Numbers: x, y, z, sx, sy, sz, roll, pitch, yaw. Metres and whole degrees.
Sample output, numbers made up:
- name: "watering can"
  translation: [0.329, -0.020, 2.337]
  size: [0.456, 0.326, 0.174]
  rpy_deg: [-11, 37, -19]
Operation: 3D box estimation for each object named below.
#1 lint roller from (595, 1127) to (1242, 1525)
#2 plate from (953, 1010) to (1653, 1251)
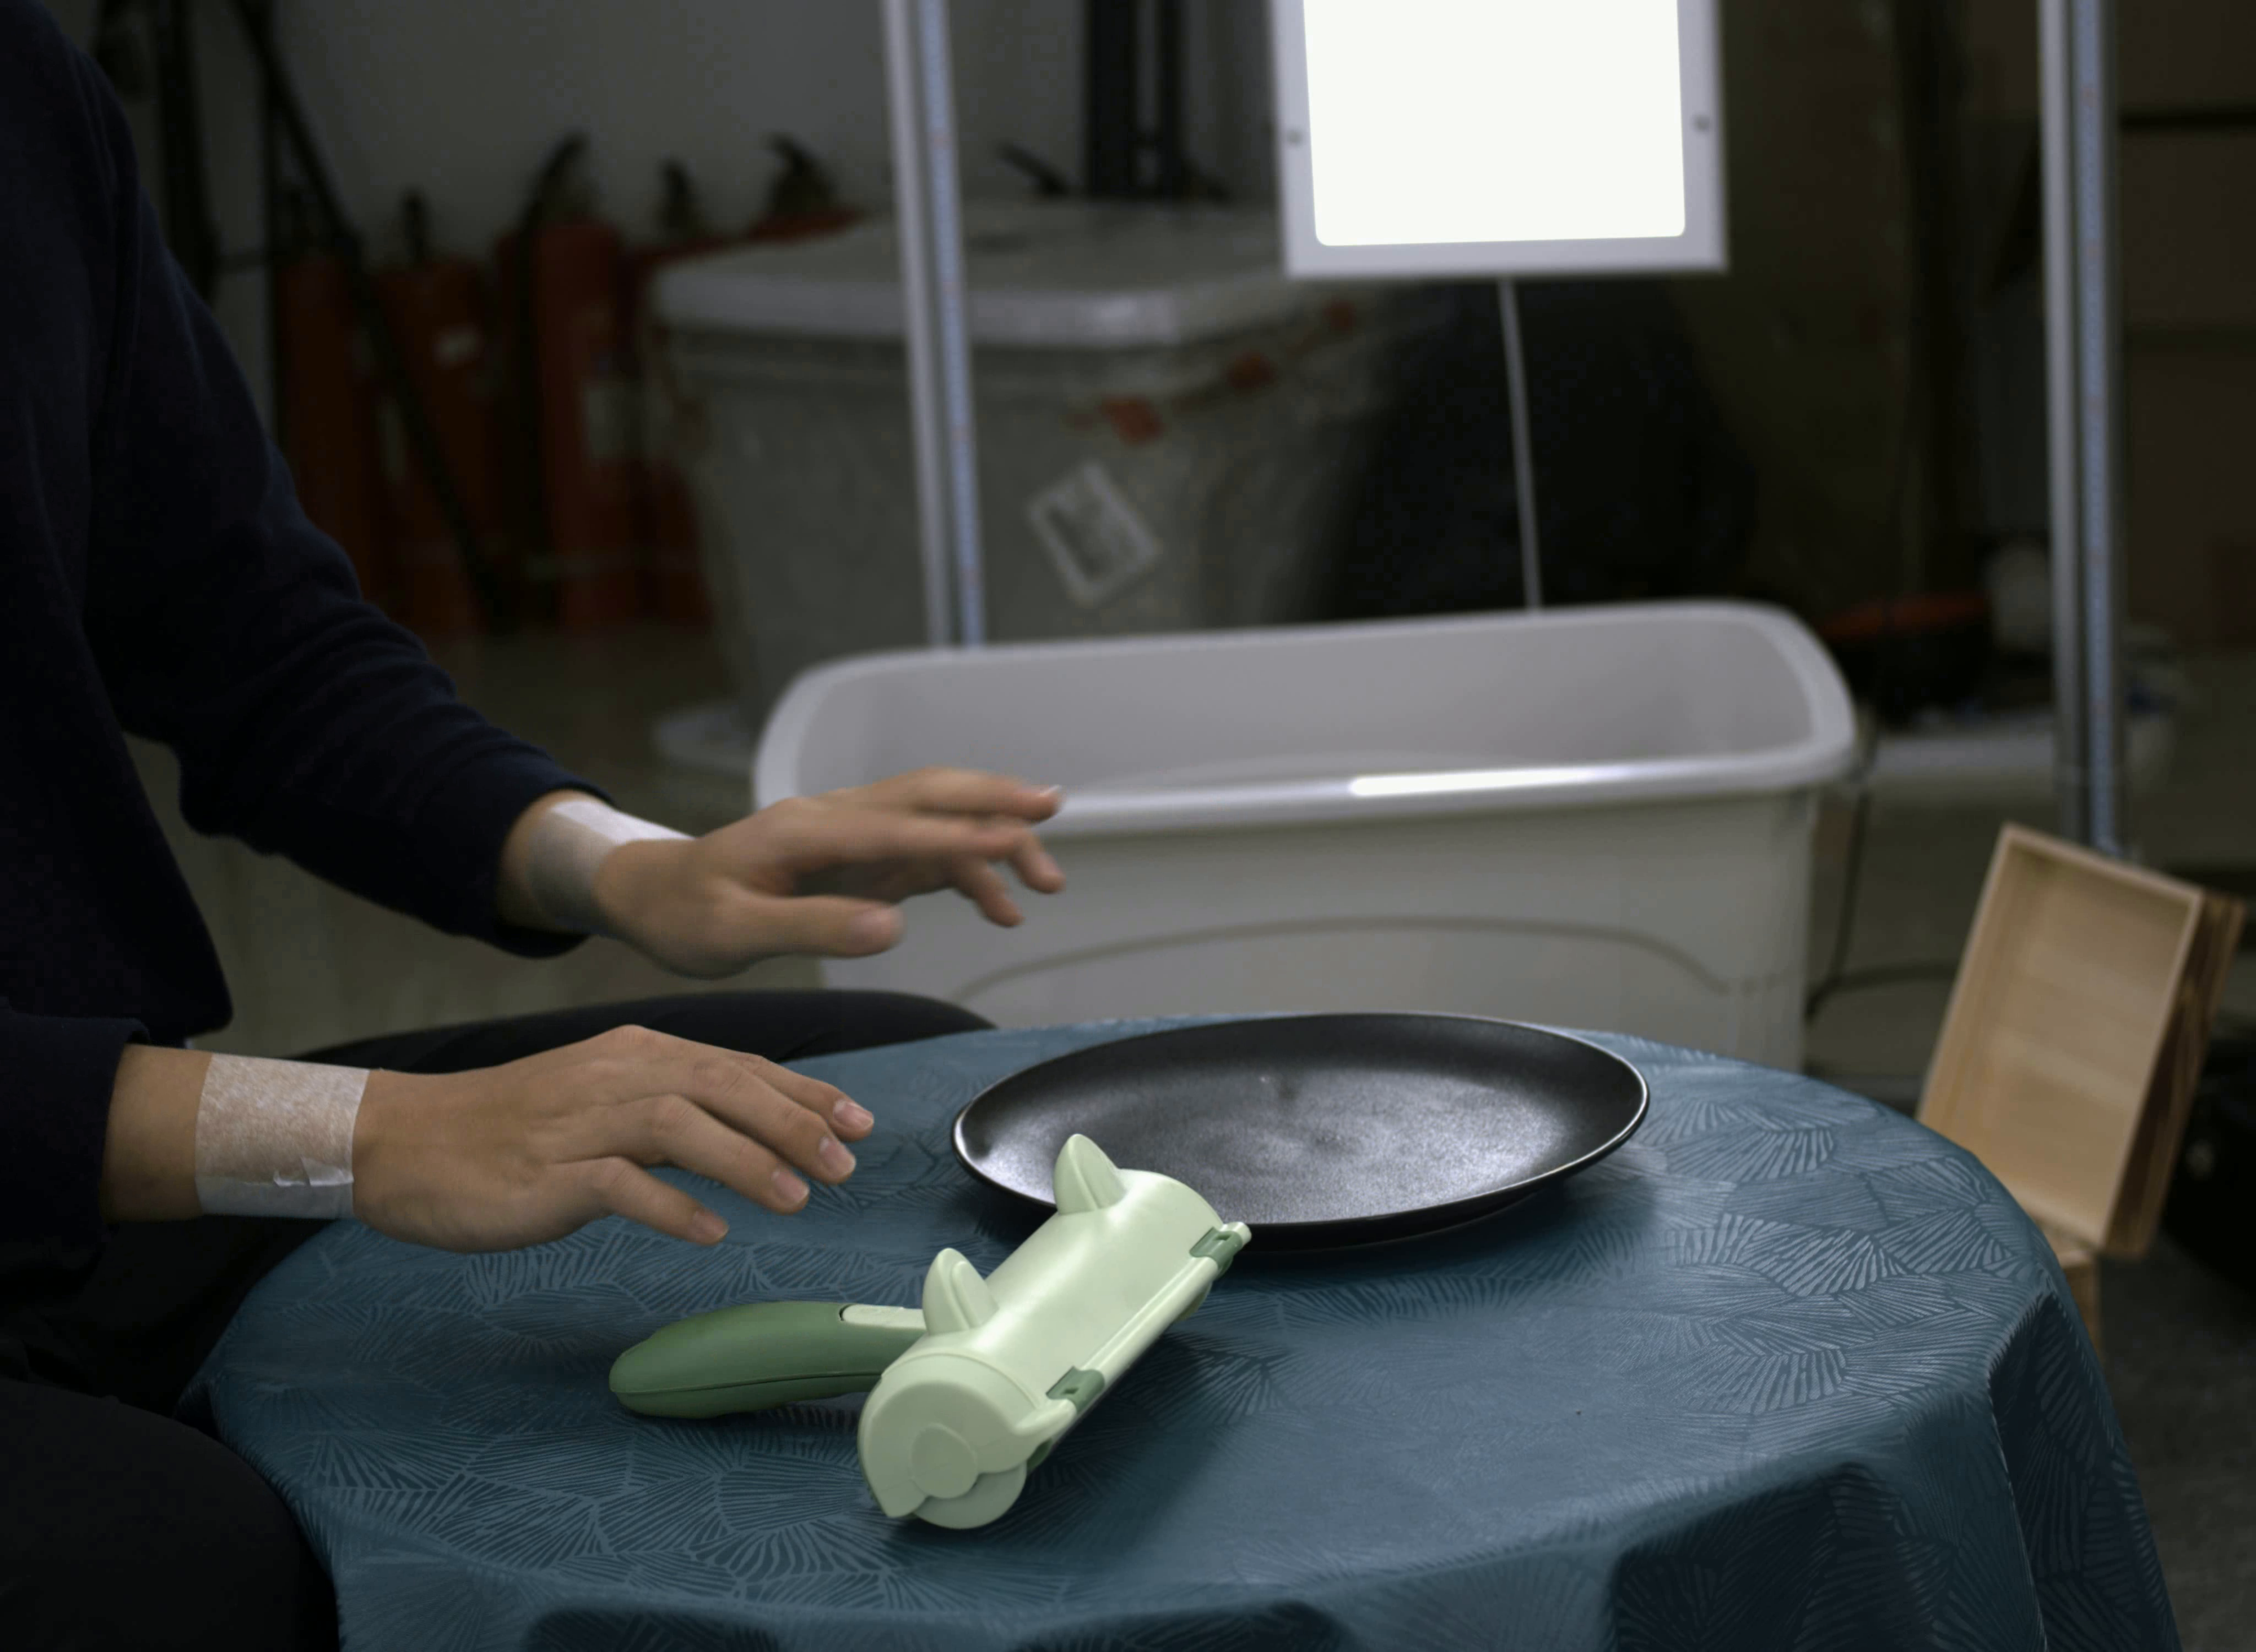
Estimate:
- name: "lint roller"
  translation: [-0.077, 0.142, 1.681]
  size: [0.185, 0.082, 0.195]
  rpy_deg: [7, 16, 18]
- name: "plate"
  translation: [0.061, 0.108, 1.902]
  size: [0.244, 0.023, 0.244]
  rpy_deg: [-5, 14, 0]
